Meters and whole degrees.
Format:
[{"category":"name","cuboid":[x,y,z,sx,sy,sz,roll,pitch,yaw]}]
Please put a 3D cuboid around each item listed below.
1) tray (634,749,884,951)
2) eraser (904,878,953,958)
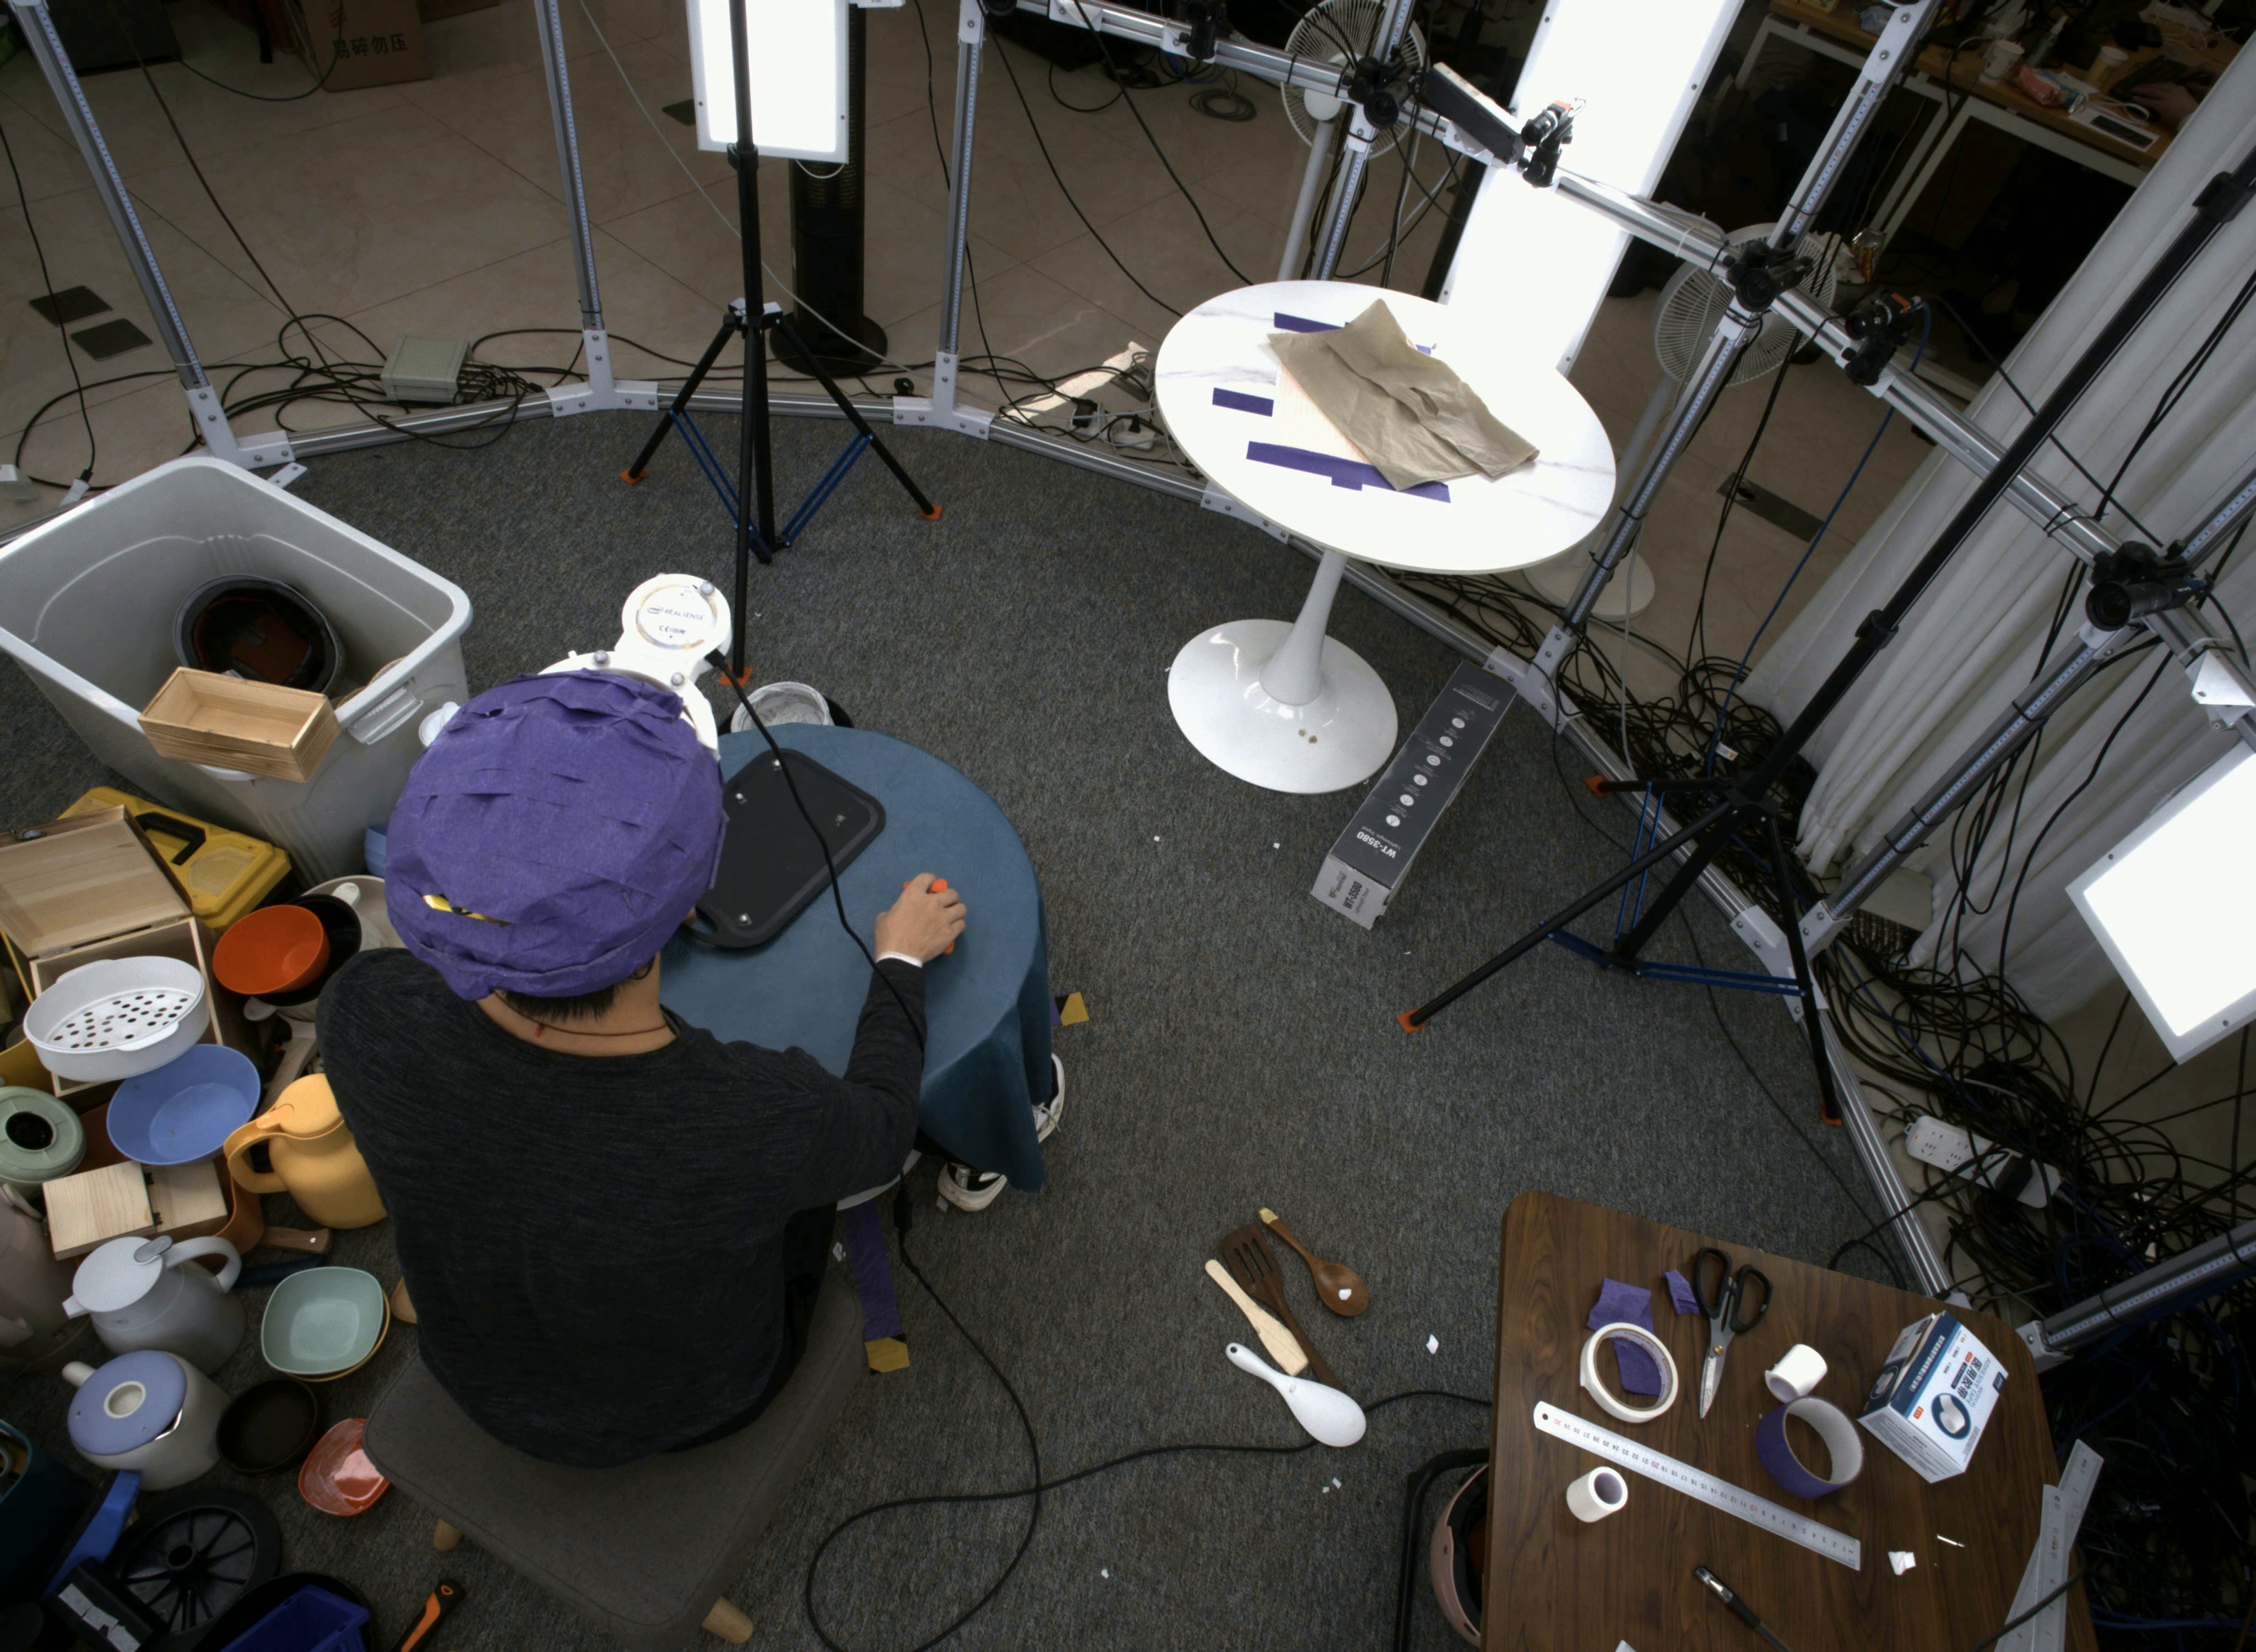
[{"category":"tray","cuboid":[-0.478,0.026,1.675,0.207,0.010,0.324,32,50,10]},{"category":"eraser","cuboid":[-0.254,0.114,1.660,0.059,0.023,0.105,-1,54,-15]}]
